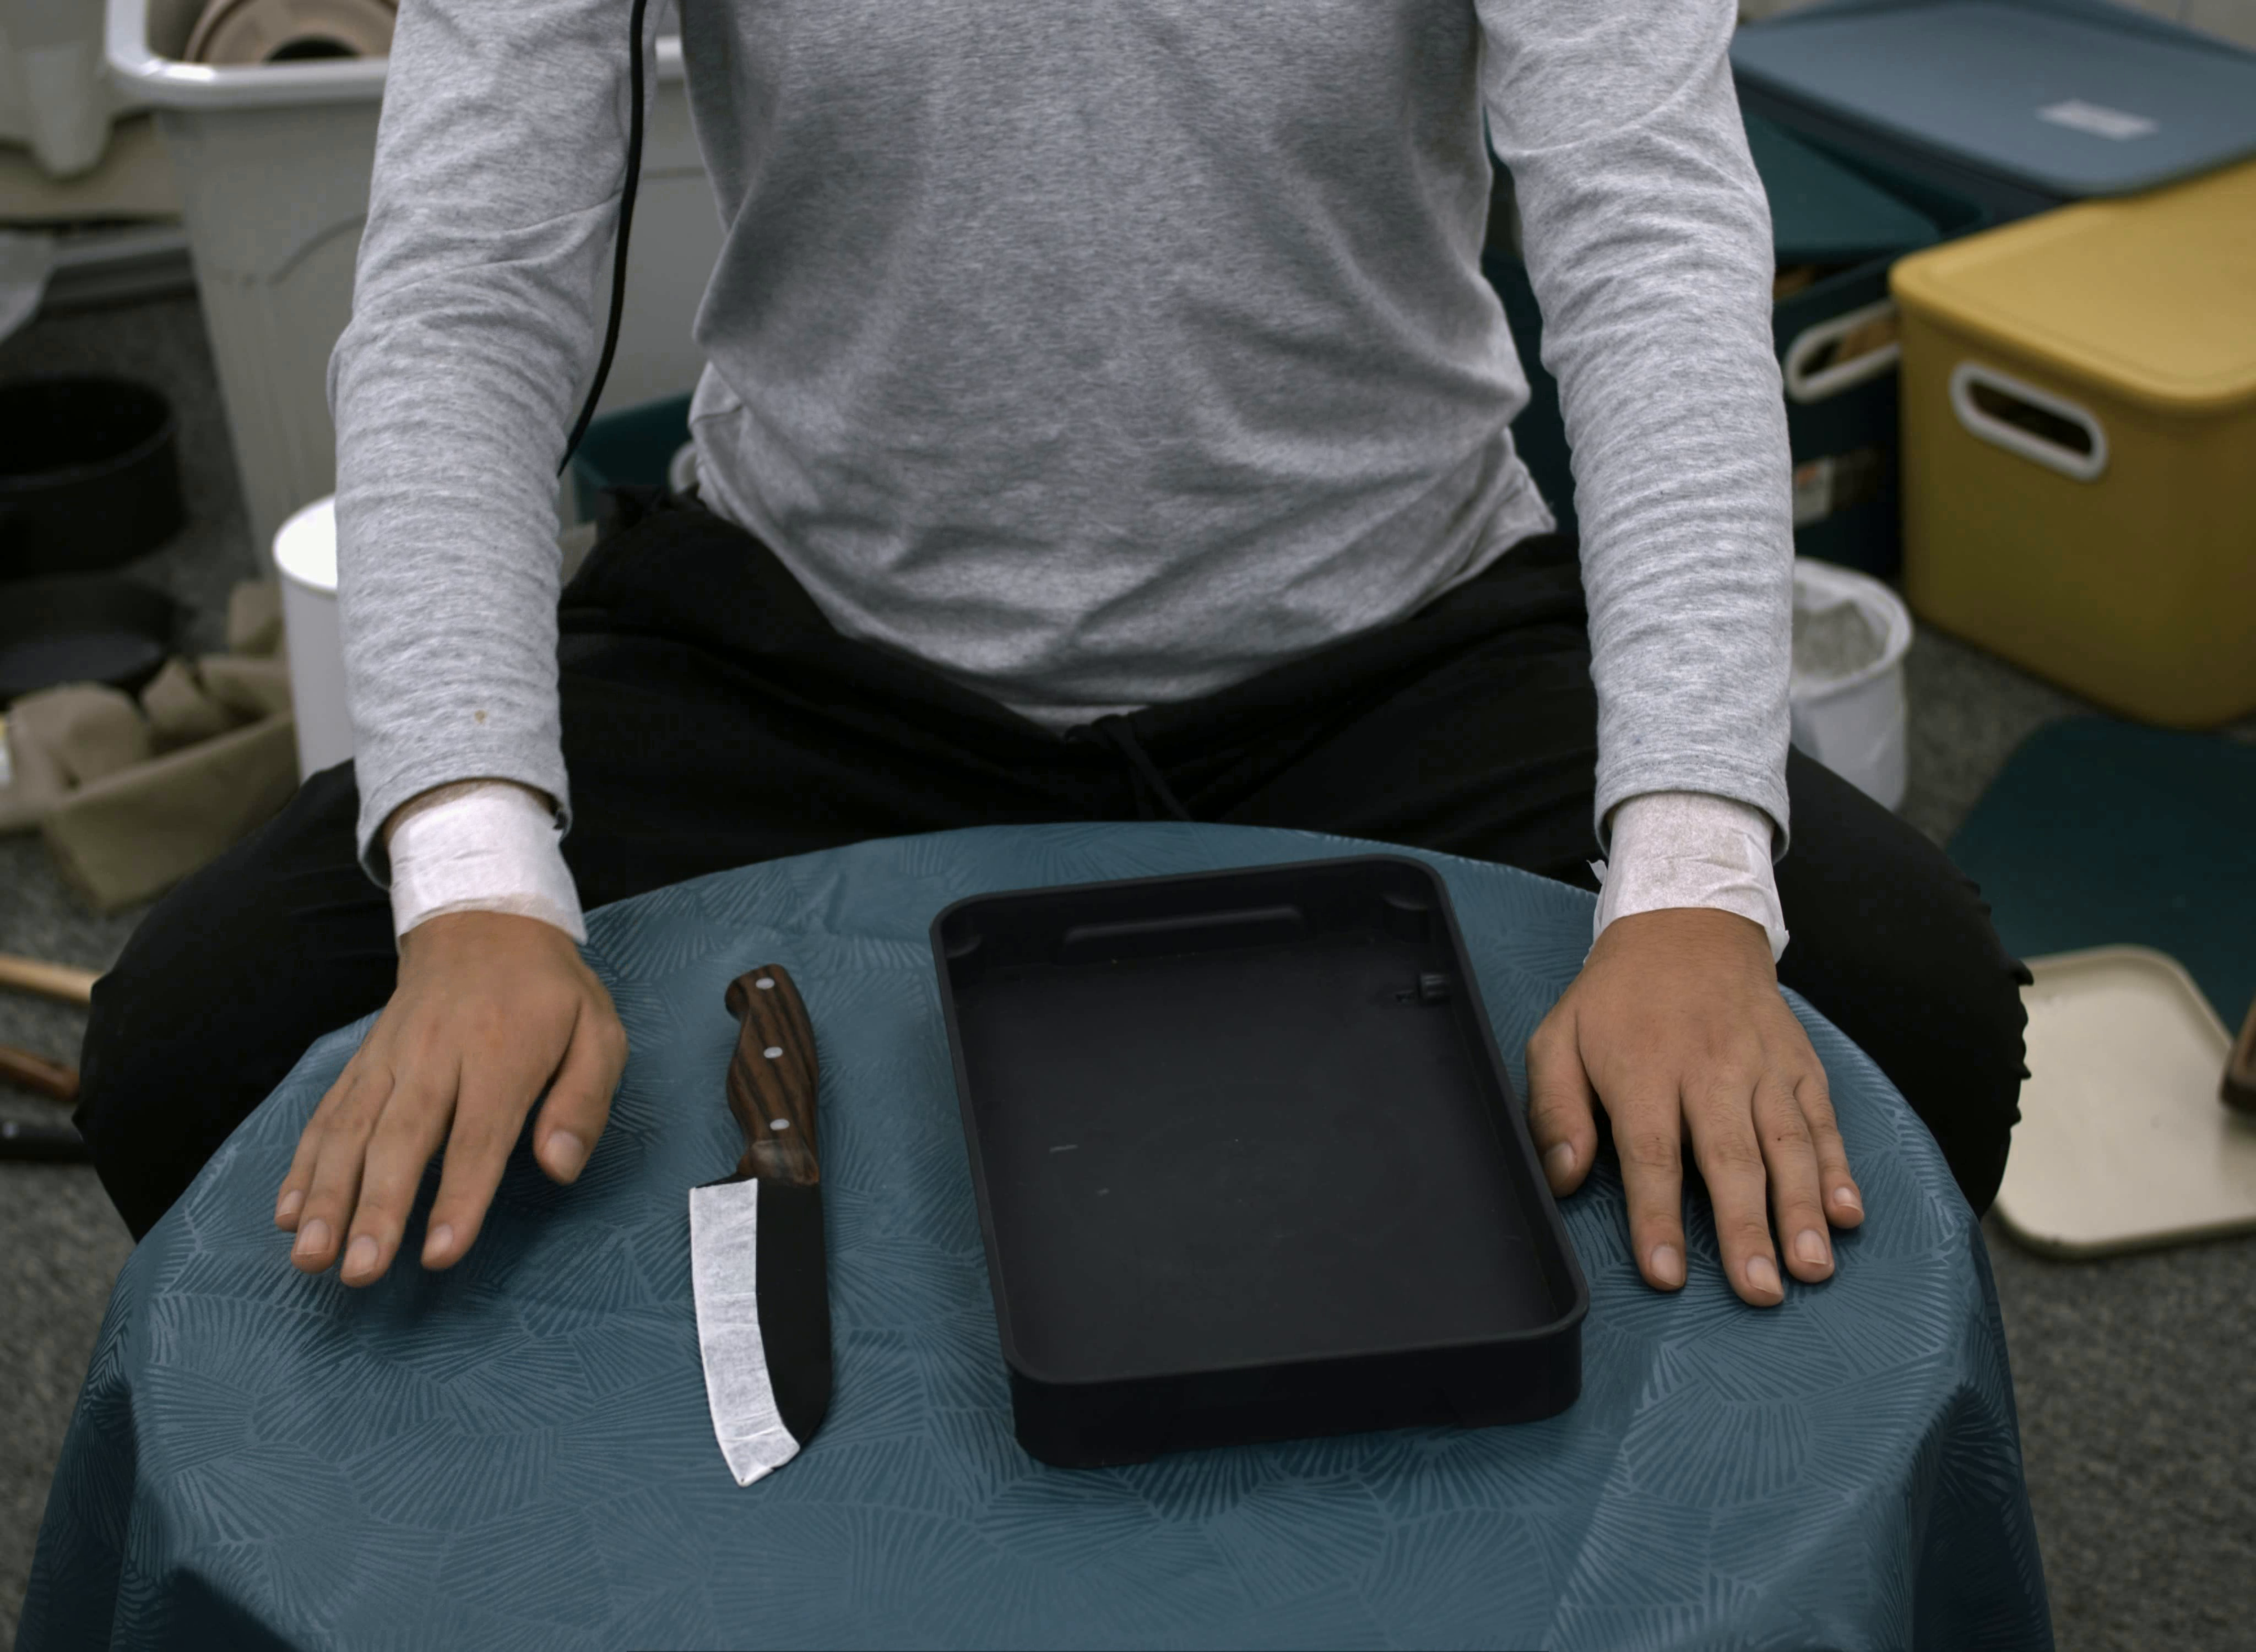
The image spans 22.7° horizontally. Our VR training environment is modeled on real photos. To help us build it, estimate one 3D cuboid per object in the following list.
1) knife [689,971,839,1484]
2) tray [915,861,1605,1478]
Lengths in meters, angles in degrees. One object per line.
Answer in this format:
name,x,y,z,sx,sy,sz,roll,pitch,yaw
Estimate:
knife,-0.120,0.130,1.842,0.050,0.020,0.293,-8,29,1
tray,0.037,0.107,1.849,0.184,0.036,0.322,-6,27,-7
